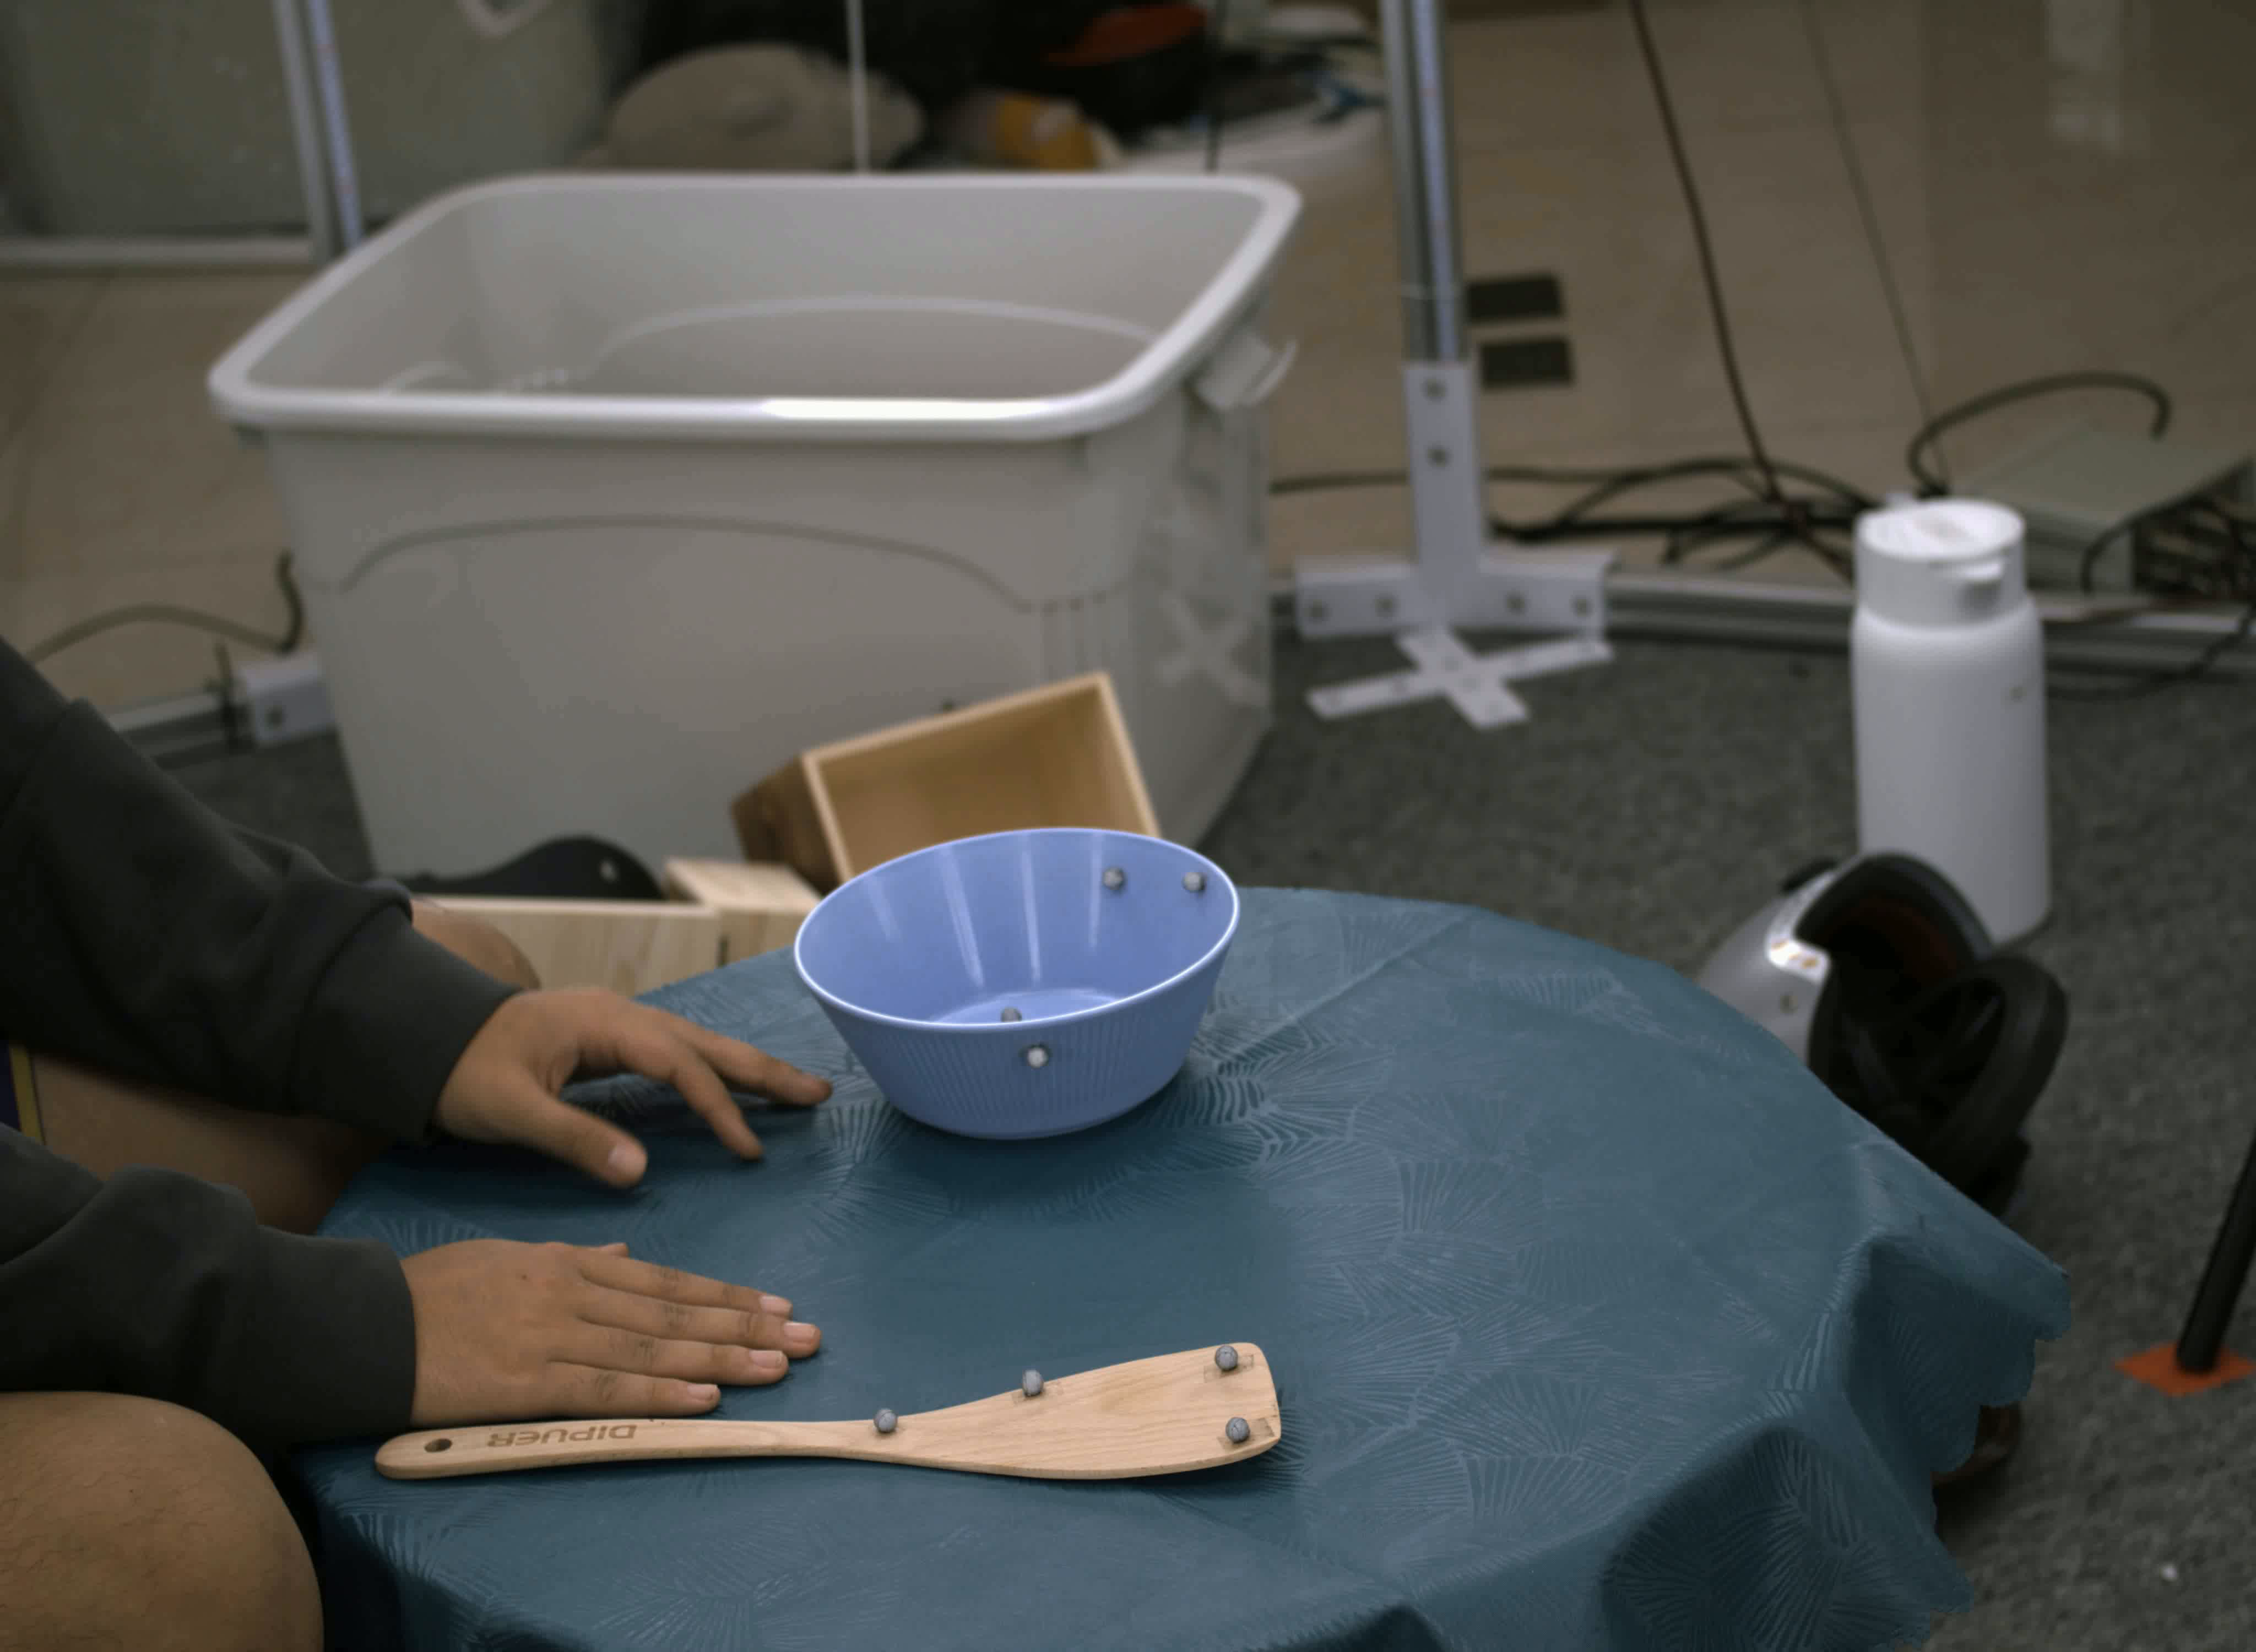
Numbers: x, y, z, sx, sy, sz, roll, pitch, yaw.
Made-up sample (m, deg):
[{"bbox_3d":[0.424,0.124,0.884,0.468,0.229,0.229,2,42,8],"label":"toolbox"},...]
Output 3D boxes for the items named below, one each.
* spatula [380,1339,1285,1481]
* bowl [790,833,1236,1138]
[{"bbox_3d":[-0.104,0.211,1.999,0.327,0.017,0.079,-3,26,8],"label":"spatula"},{"bbox_3d":[-0.042,0.068,2.226,0.176,0.071,0.173,-5,25,3],"label":"bowl"}]
